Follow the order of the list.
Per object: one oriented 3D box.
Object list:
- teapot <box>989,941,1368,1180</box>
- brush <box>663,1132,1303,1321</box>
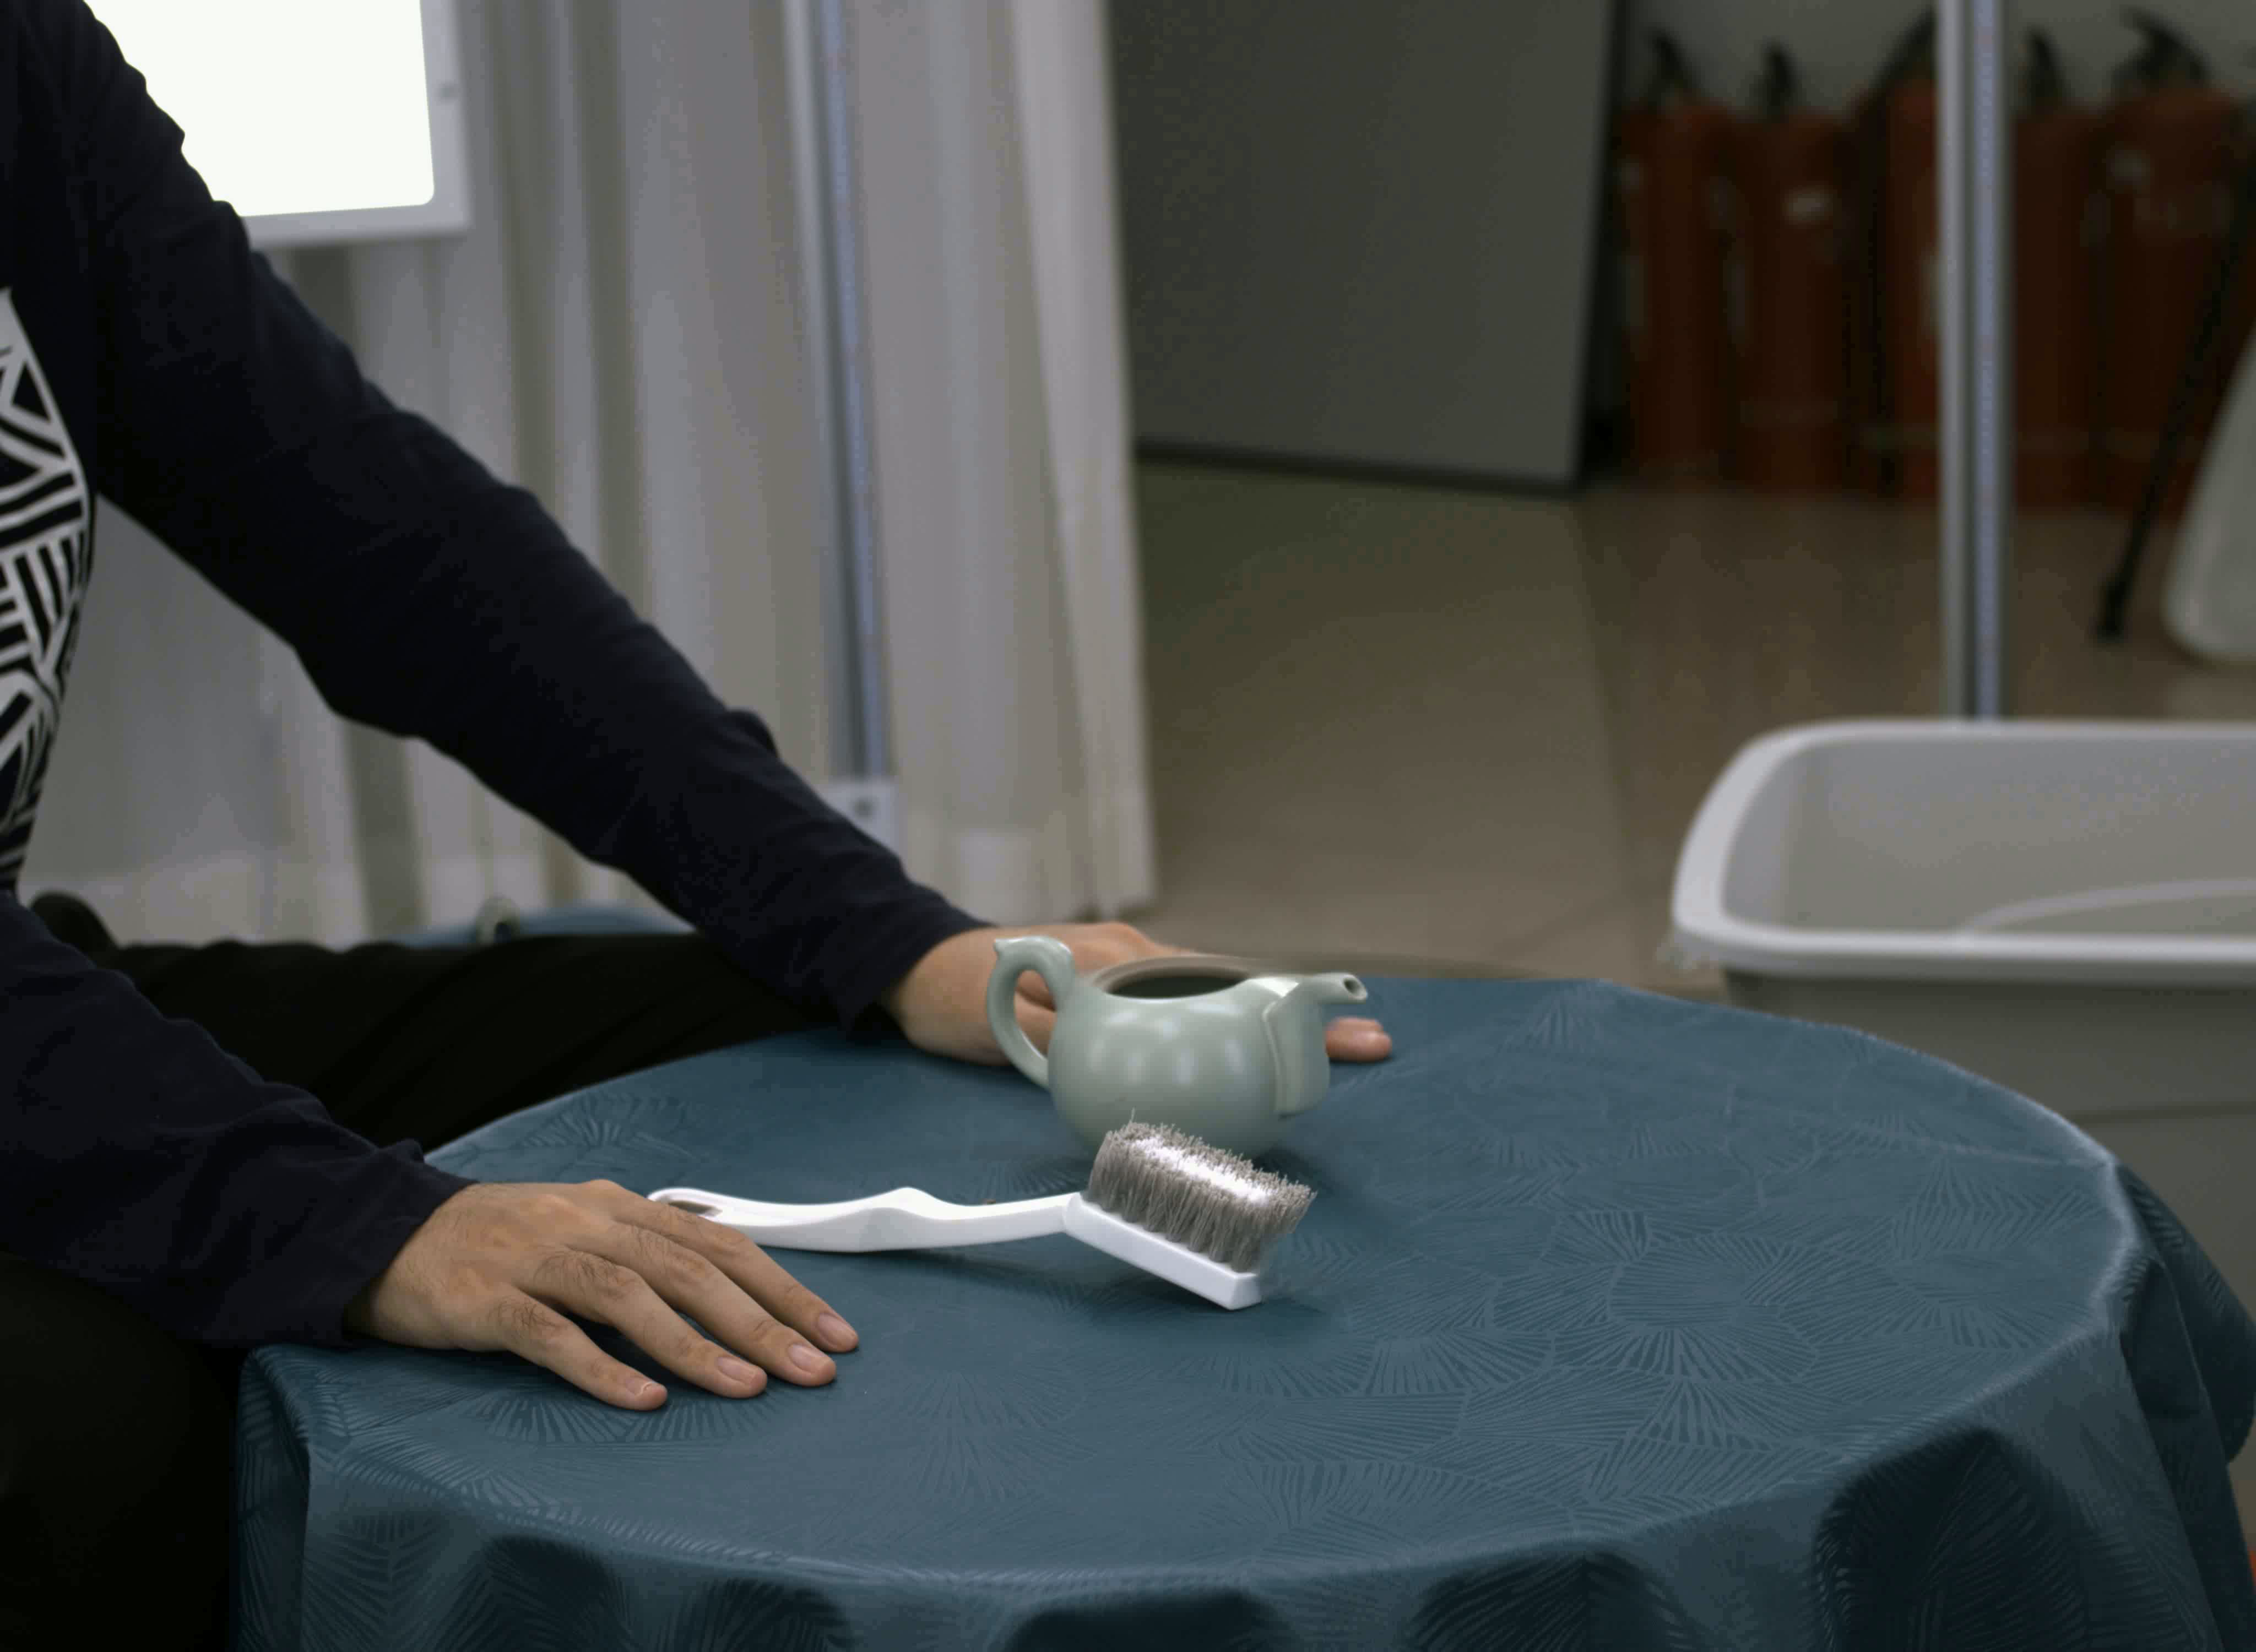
[{"bbox_3d":[0.018,0.080,1.790,0.144,0.075,0.087,6,18,32],"label":"teapot"},{"bbox_3d":[-0.052,0.116,1.713,0.245,0.051,0.034,6,21,34],"label":"brush"}]
